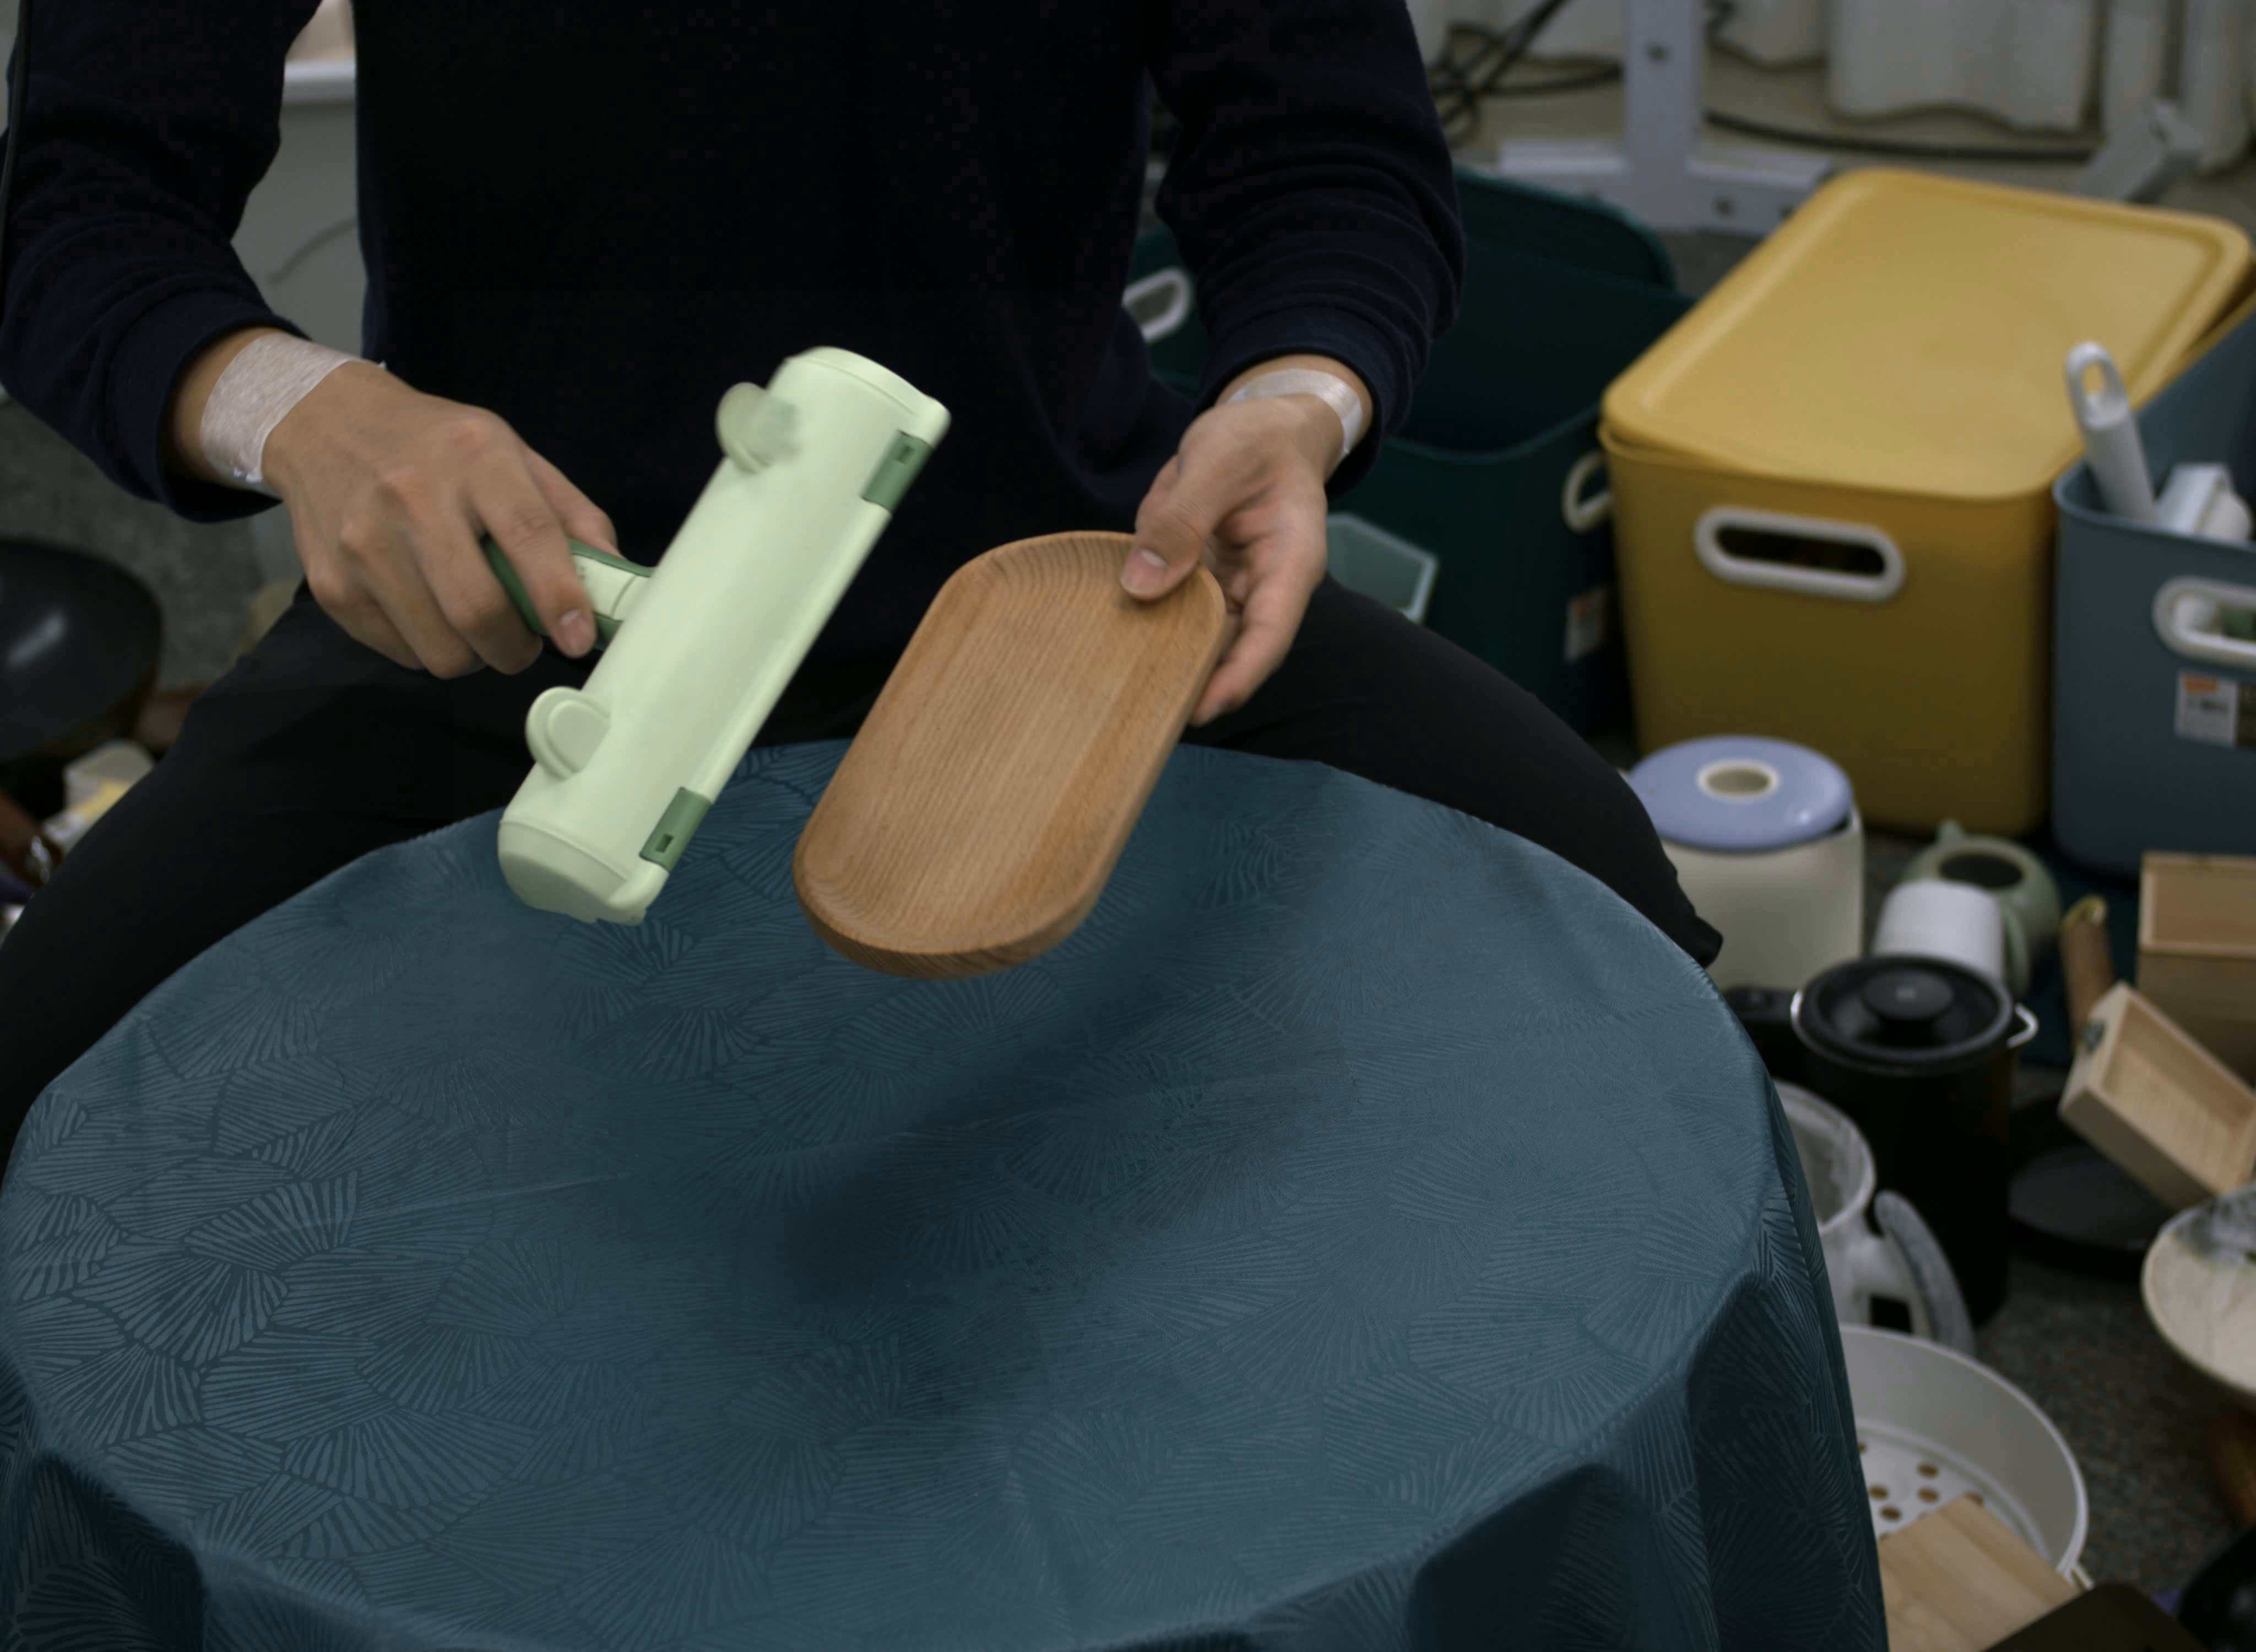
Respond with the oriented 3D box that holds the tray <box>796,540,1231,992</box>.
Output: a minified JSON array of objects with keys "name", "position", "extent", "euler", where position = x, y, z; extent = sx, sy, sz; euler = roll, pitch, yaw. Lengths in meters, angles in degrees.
[{"name":"tray","position":[-0.035,-0.022,1.831],"extent":[0.101,0.020,0.236],"euler":[8,40,15]}]

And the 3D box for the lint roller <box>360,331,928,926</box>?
[{"name":"lint roller","position":[-0.180,-0.082,1.772],"extent":[0.183,0.081,0.201],"euler":[19,70,25]}]
